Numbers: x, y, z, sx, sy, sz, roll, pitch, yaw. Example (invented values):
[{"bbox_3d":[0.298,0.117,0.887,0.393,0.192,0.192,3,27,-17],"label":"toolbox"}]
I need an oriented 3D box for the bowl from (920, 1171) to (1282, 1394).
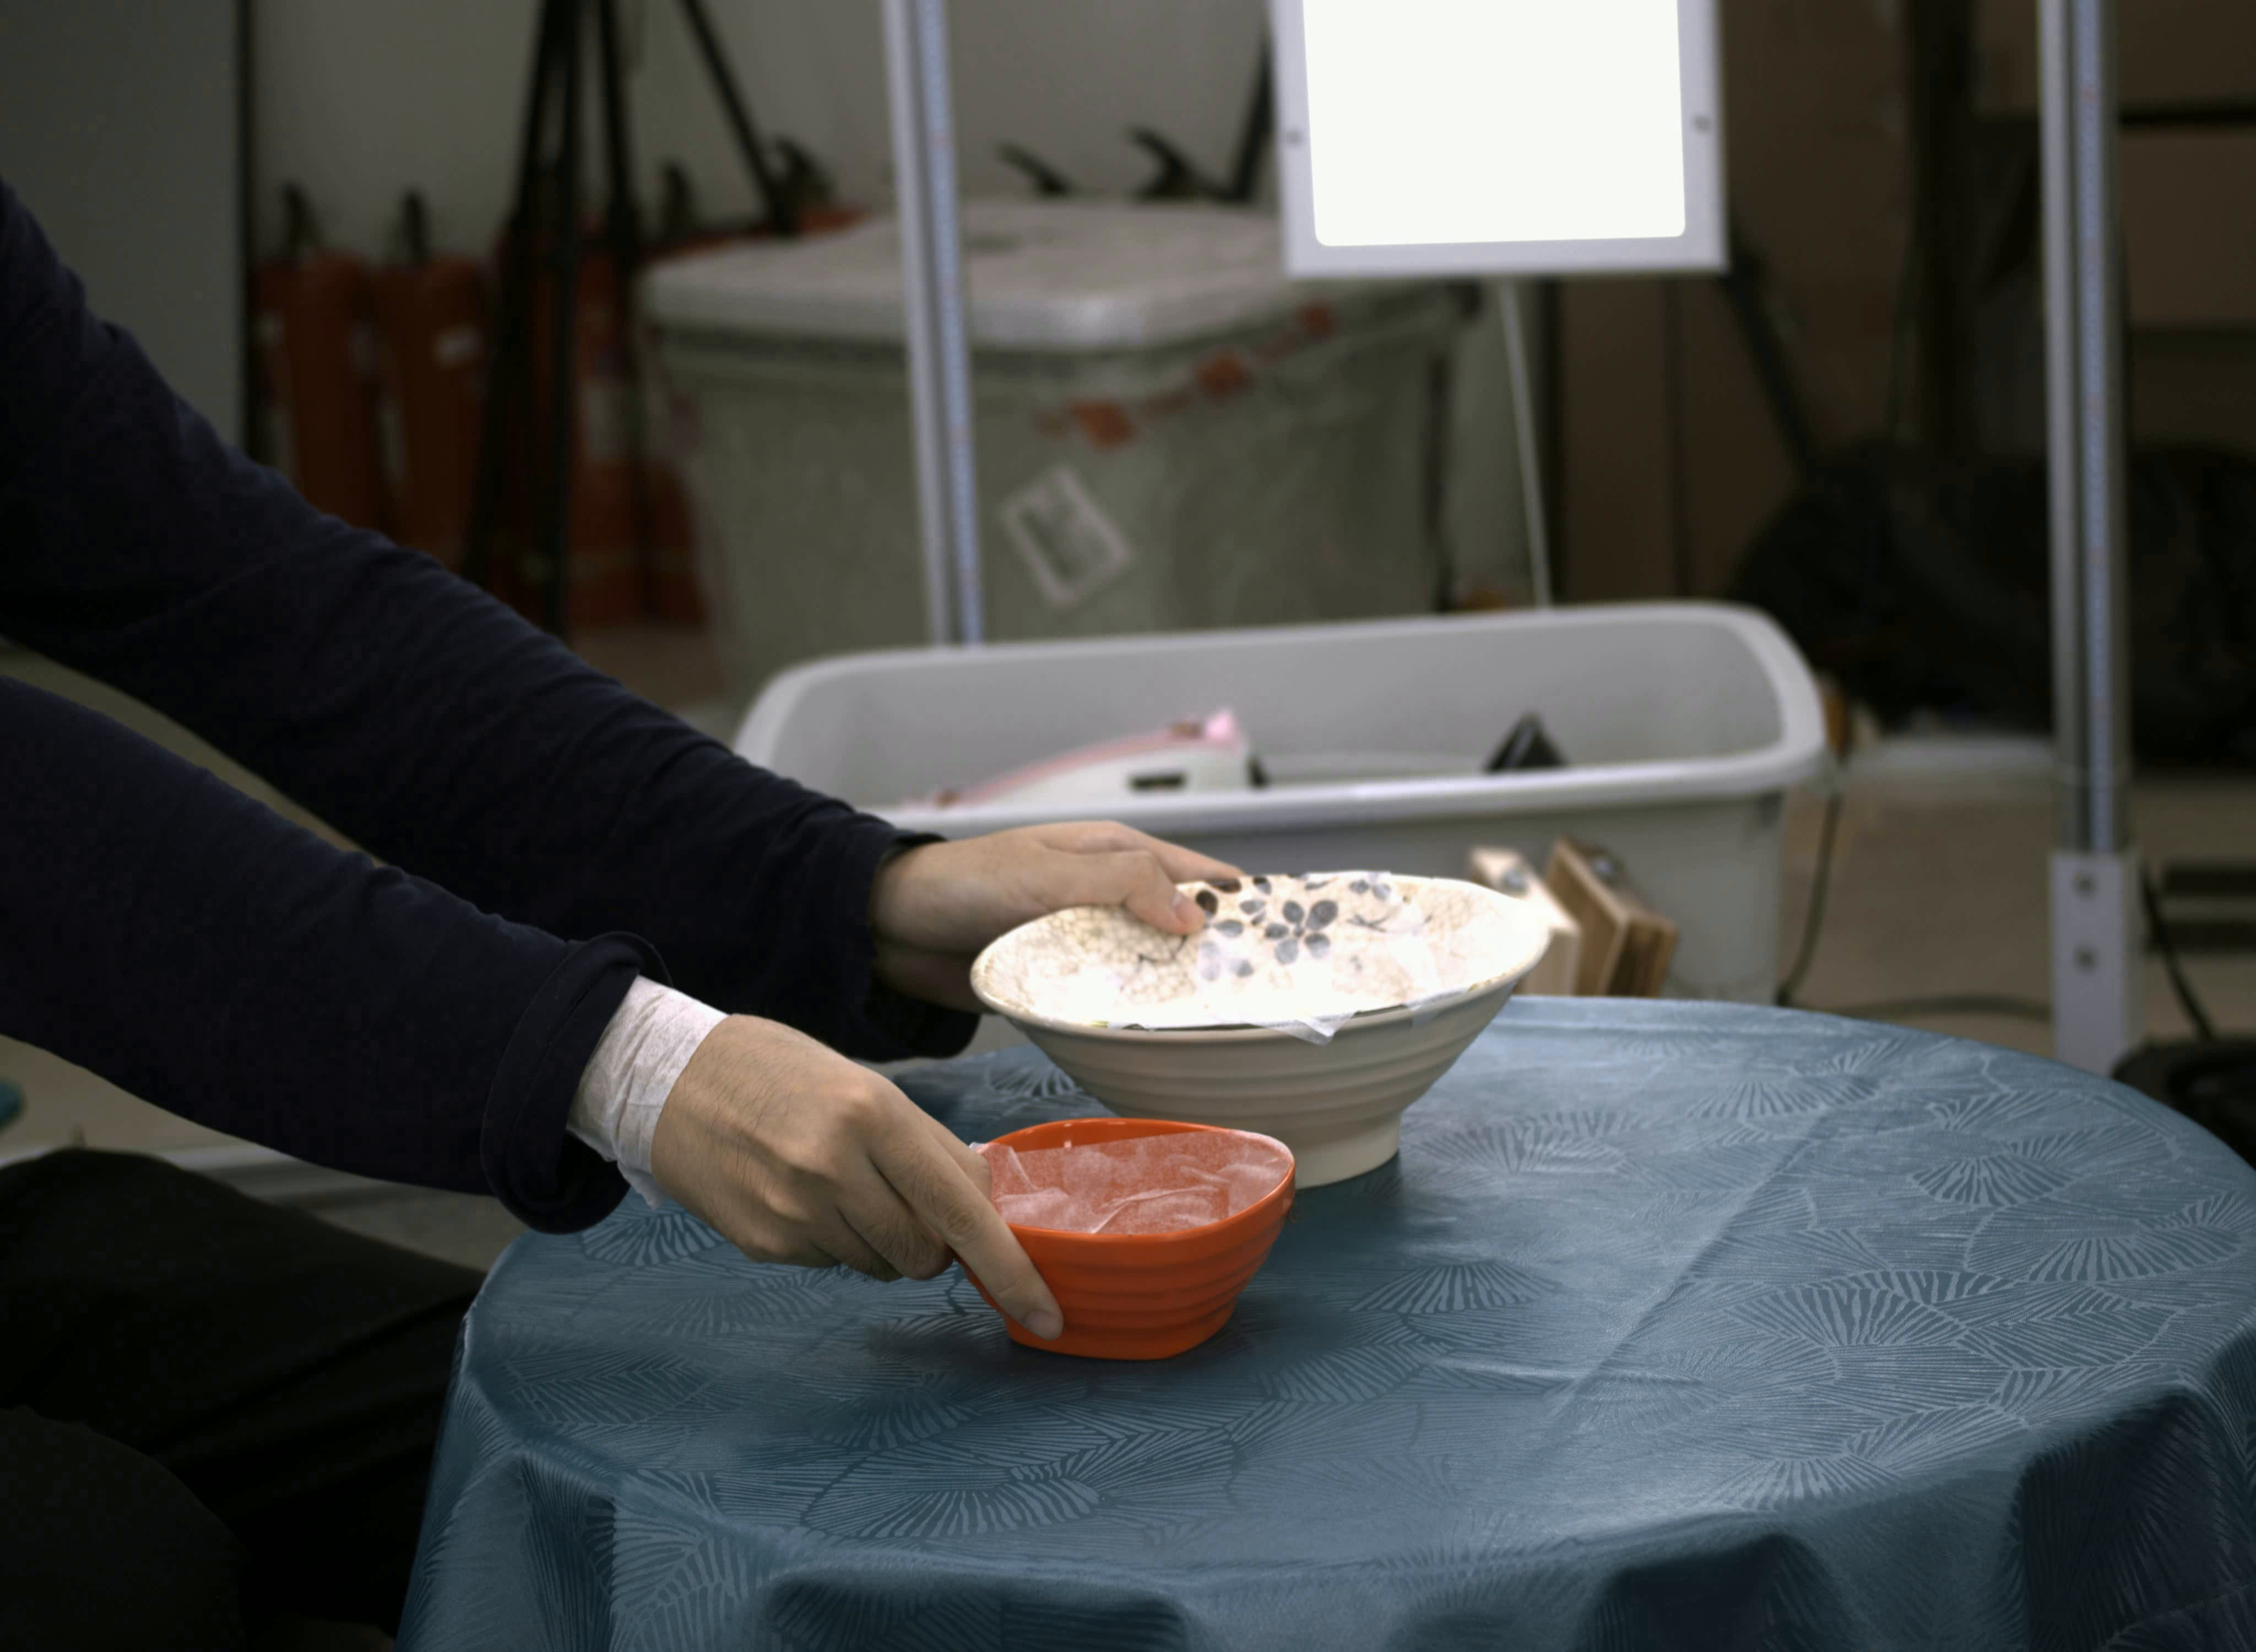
[{"bbox_3d":[-0.008,0.146,1.752,0.118,0.051,0.119,-1,10,-1],"label":"bowl"}]

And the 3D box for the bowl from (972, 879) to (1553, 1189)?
[{"bbox_3d":[0.050,0.079,1.921,0.203,0.078,0.204,-5,13,0],"label":"bowl"}]
